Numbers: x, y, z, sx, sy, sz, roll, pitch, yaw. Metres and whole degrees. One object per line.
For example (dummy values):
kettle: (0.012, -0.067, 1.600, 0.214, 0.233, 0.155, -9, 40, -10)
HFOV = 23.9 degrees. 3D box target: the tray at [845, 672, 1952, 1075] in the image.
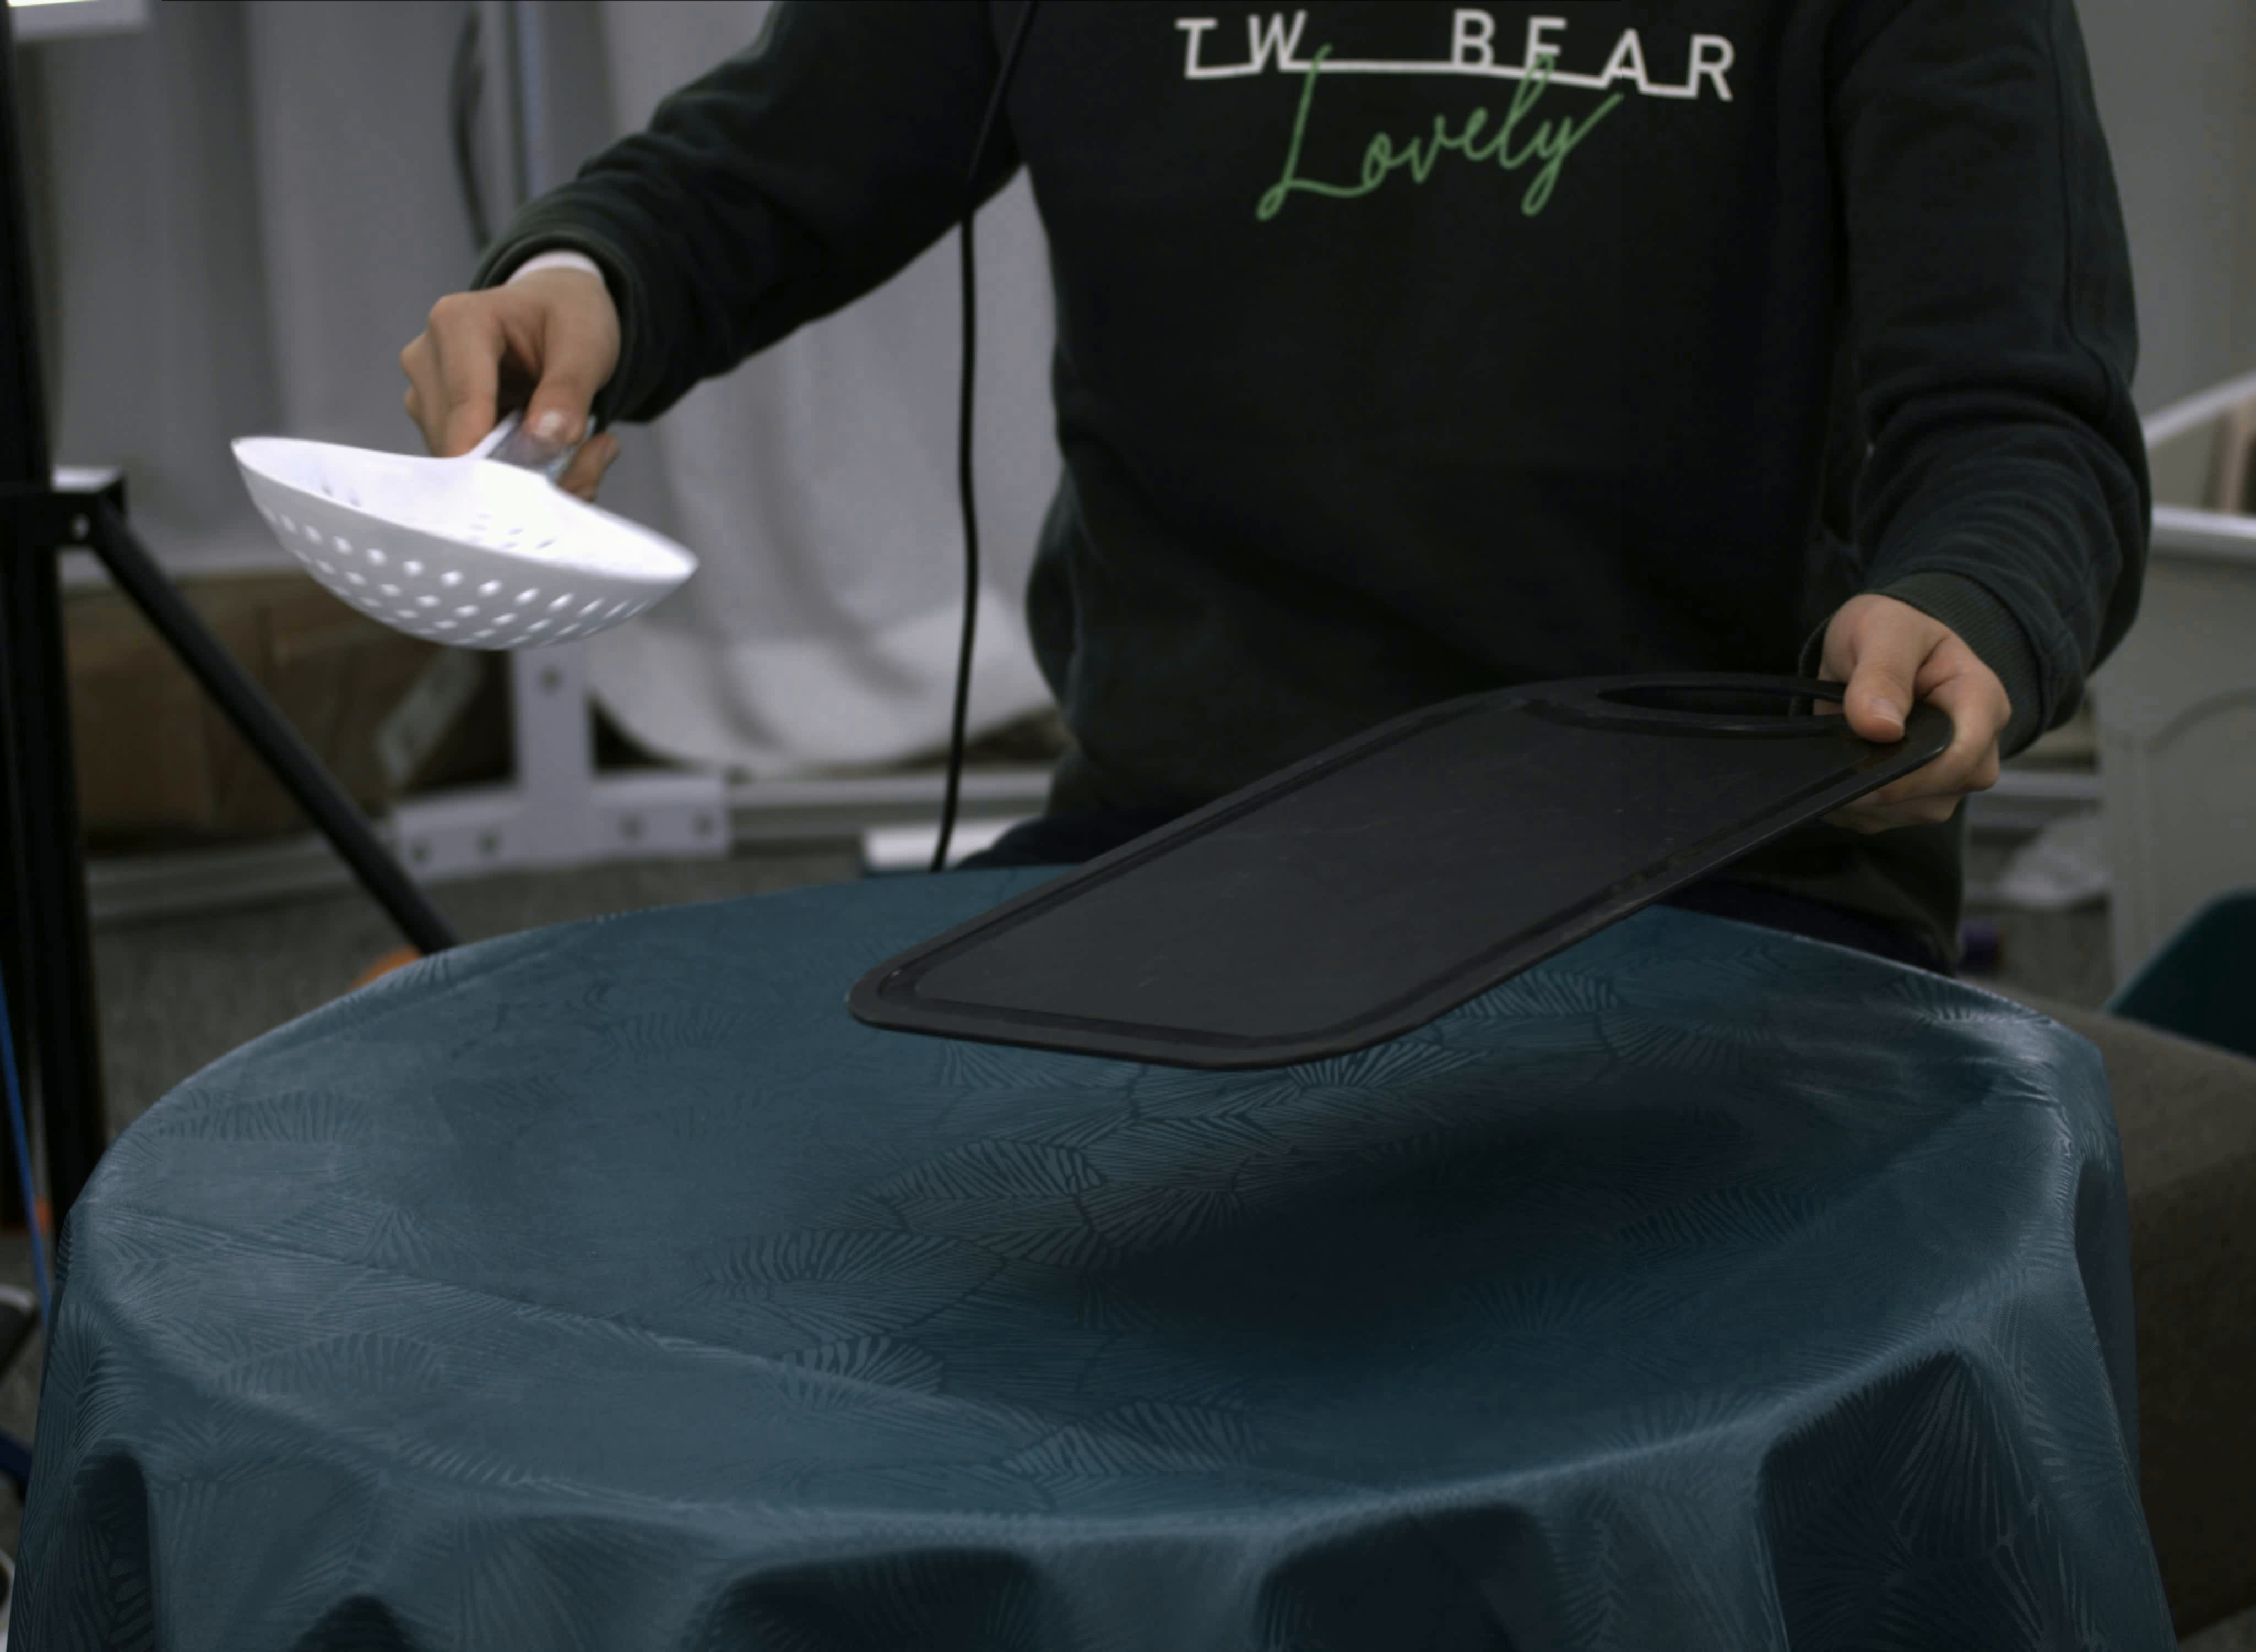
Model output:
tray: (0.085, 0.006, 1.525, 0.319, 0.010, 0.216, -25, 20, -38)

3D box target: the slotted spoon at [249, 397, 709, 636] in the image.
slotted spoon: (-0.189, -0.107, 1.643, 0.135, 0.046, 0.350, 13, 14, -2)
